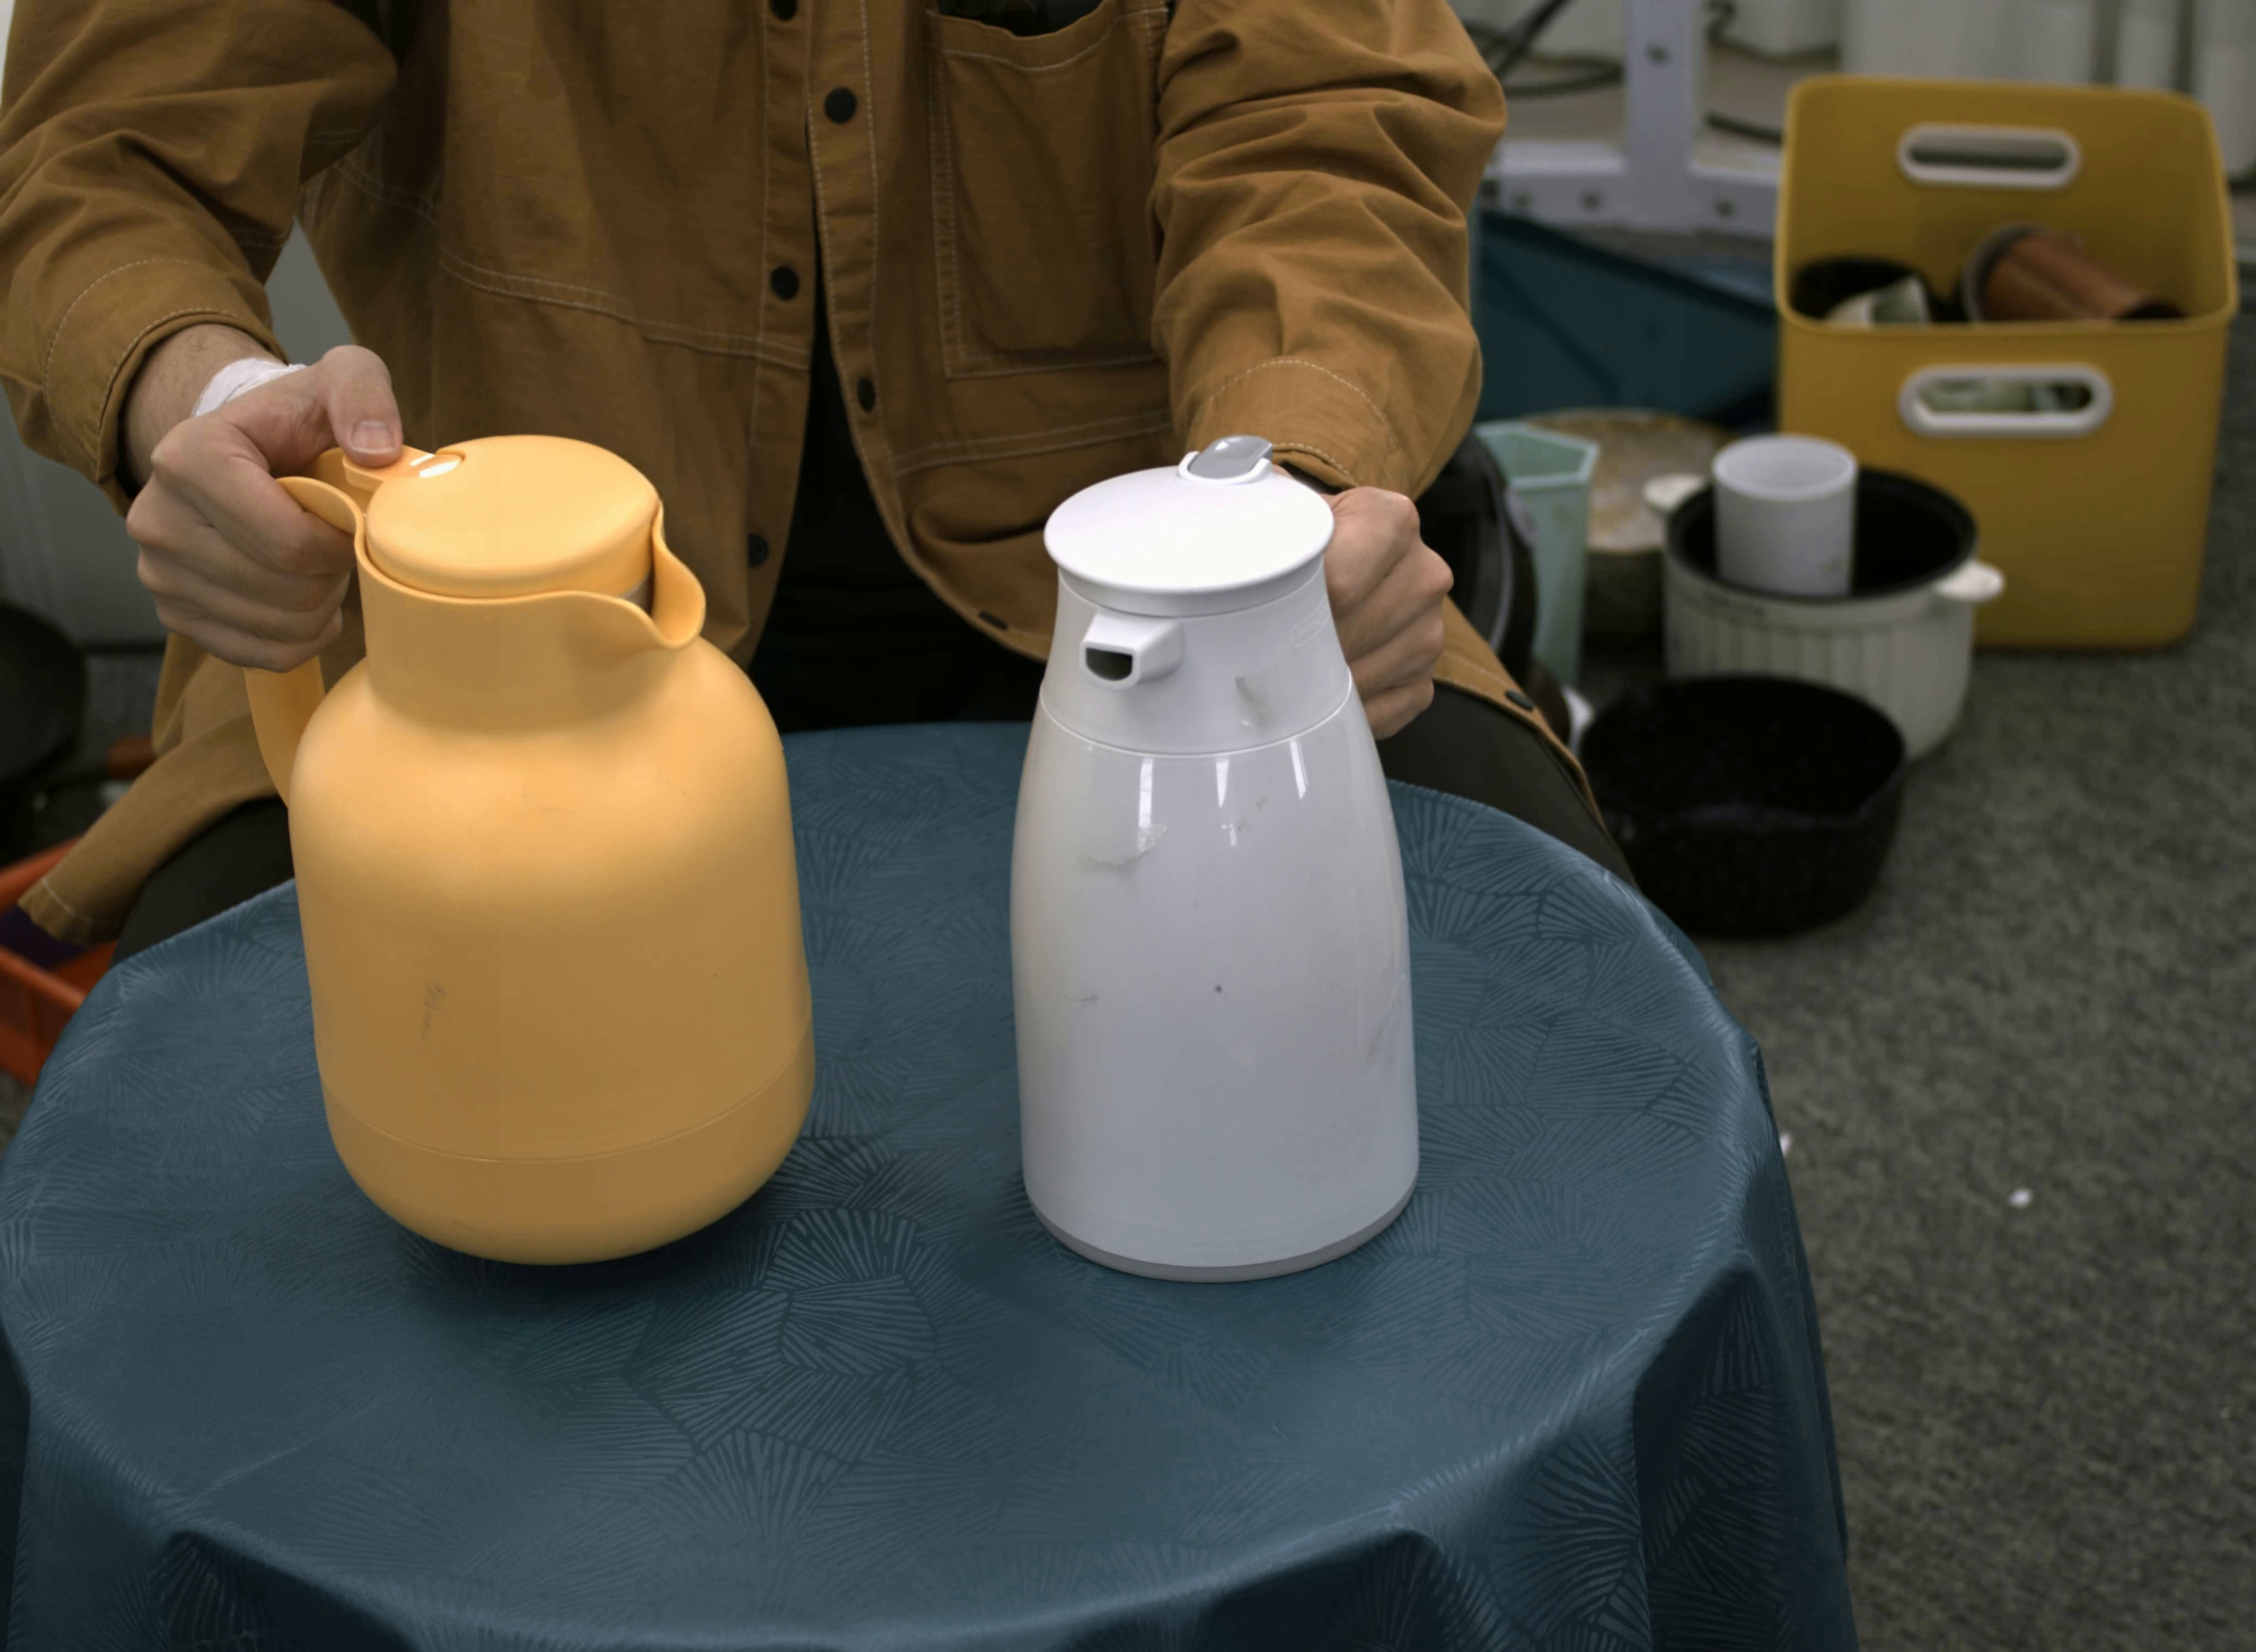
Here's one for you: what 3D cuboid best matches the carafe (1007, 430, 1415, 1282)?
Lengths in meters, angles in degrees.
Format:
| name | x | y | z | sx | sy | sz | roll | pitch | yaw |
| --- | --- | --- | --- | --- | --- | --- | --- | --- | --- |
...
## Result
| name | x | y | z | sx | sy | sz | roll | pitch | yaw |
| --- | --- | --- | --- | --- | --- | --- | --- | --- | --- |
| carafe | 0.031 | -0.001 | 1.827 | 0.131 | 0.246 | 0.170 | 8 | 28 | 22 |

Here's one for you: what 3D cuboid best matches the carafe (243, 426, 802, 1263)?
| name | x | y | z | sx | sy | sz | roll | pitch | yaw |
| --- | --- | --- | --- | --- | --- | --- | --- | --- | --- |
| carafe | -0.203 | -0.006 | 1.819 | 0.202 | 0.257 | 0.165 | 24 | 37 | 34 |
